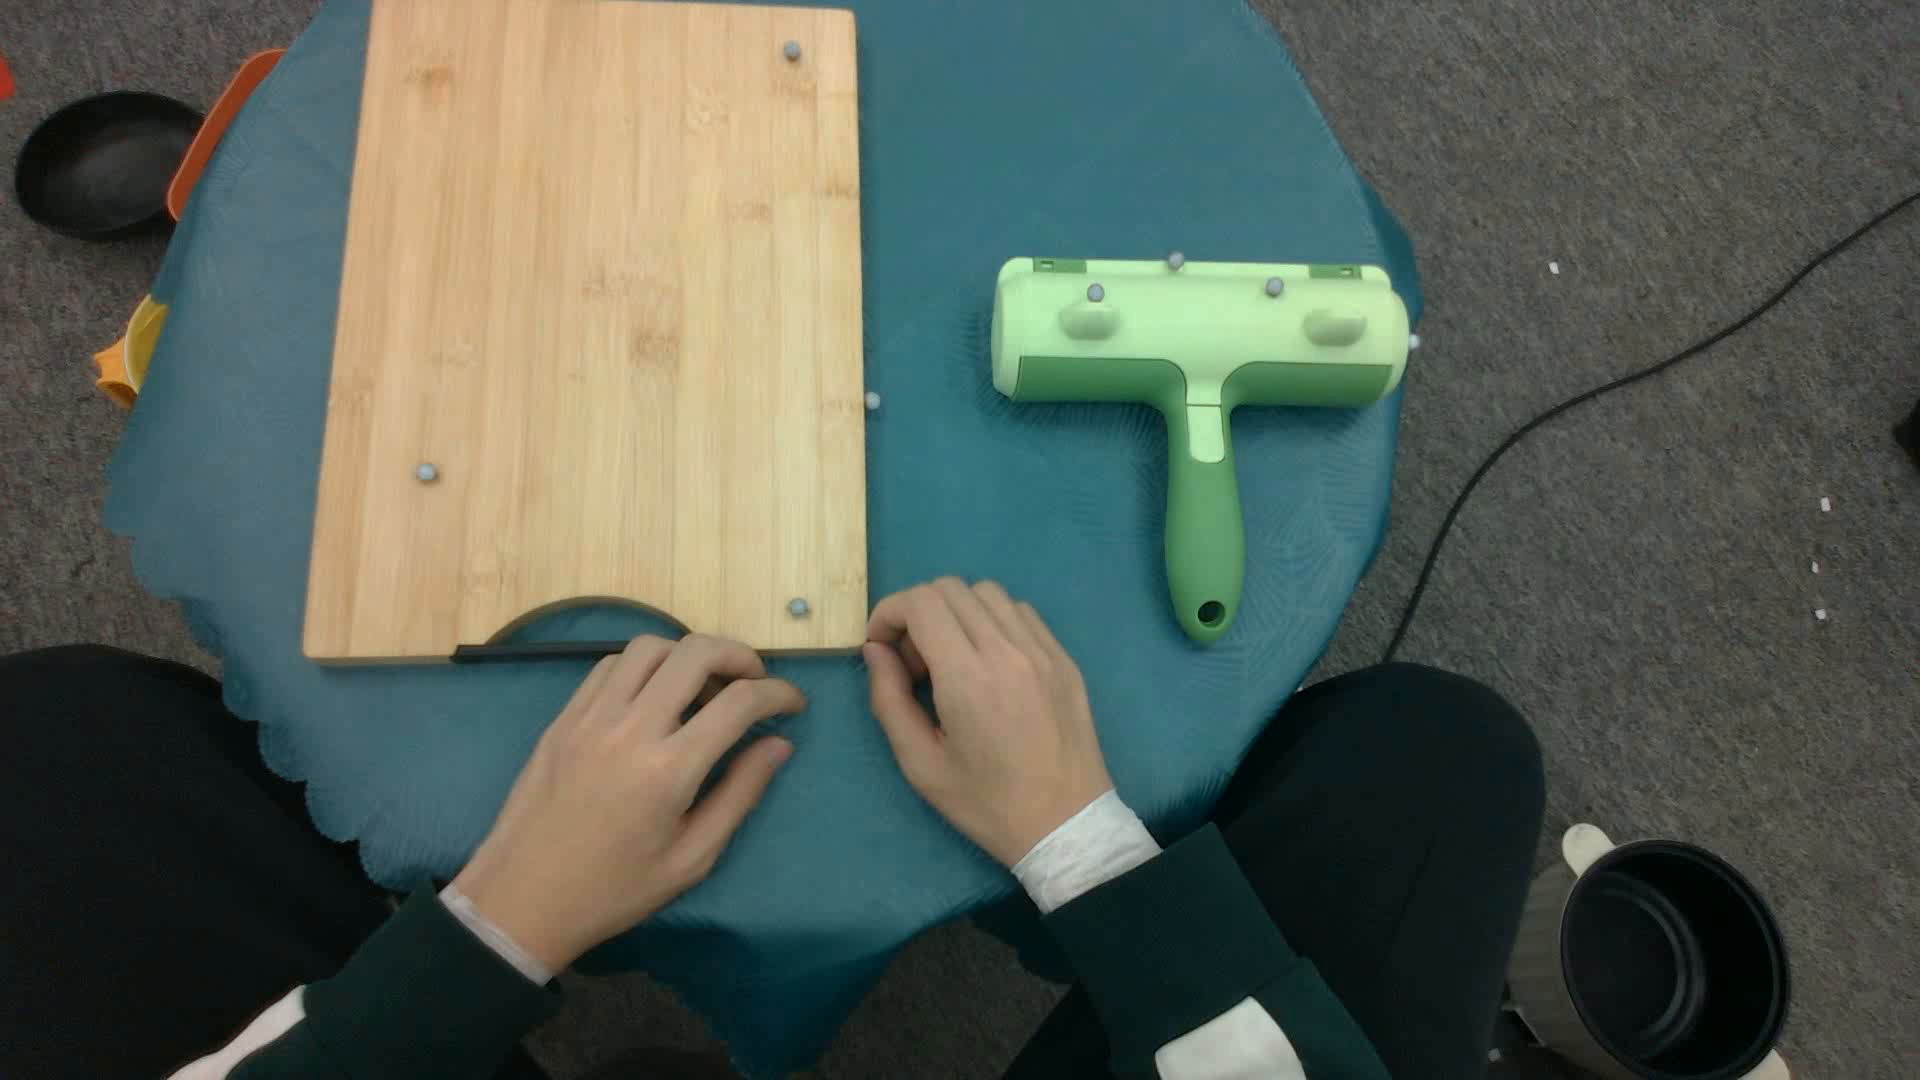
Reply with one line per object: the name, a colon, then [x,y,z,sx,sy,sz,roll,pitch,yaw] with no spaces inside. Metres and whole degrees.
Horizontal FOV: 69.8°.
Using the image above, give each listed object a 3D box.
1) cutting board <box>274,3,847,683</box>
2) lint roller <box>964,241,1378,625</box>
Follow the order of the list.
cutting board: [-0.182,-0.107,0.657,0.251,0.023,0.349,-3,72,-7]
lint roller: [0.105,-0.058,0.642,0.199,0.082,0.184,0,69,-7]
